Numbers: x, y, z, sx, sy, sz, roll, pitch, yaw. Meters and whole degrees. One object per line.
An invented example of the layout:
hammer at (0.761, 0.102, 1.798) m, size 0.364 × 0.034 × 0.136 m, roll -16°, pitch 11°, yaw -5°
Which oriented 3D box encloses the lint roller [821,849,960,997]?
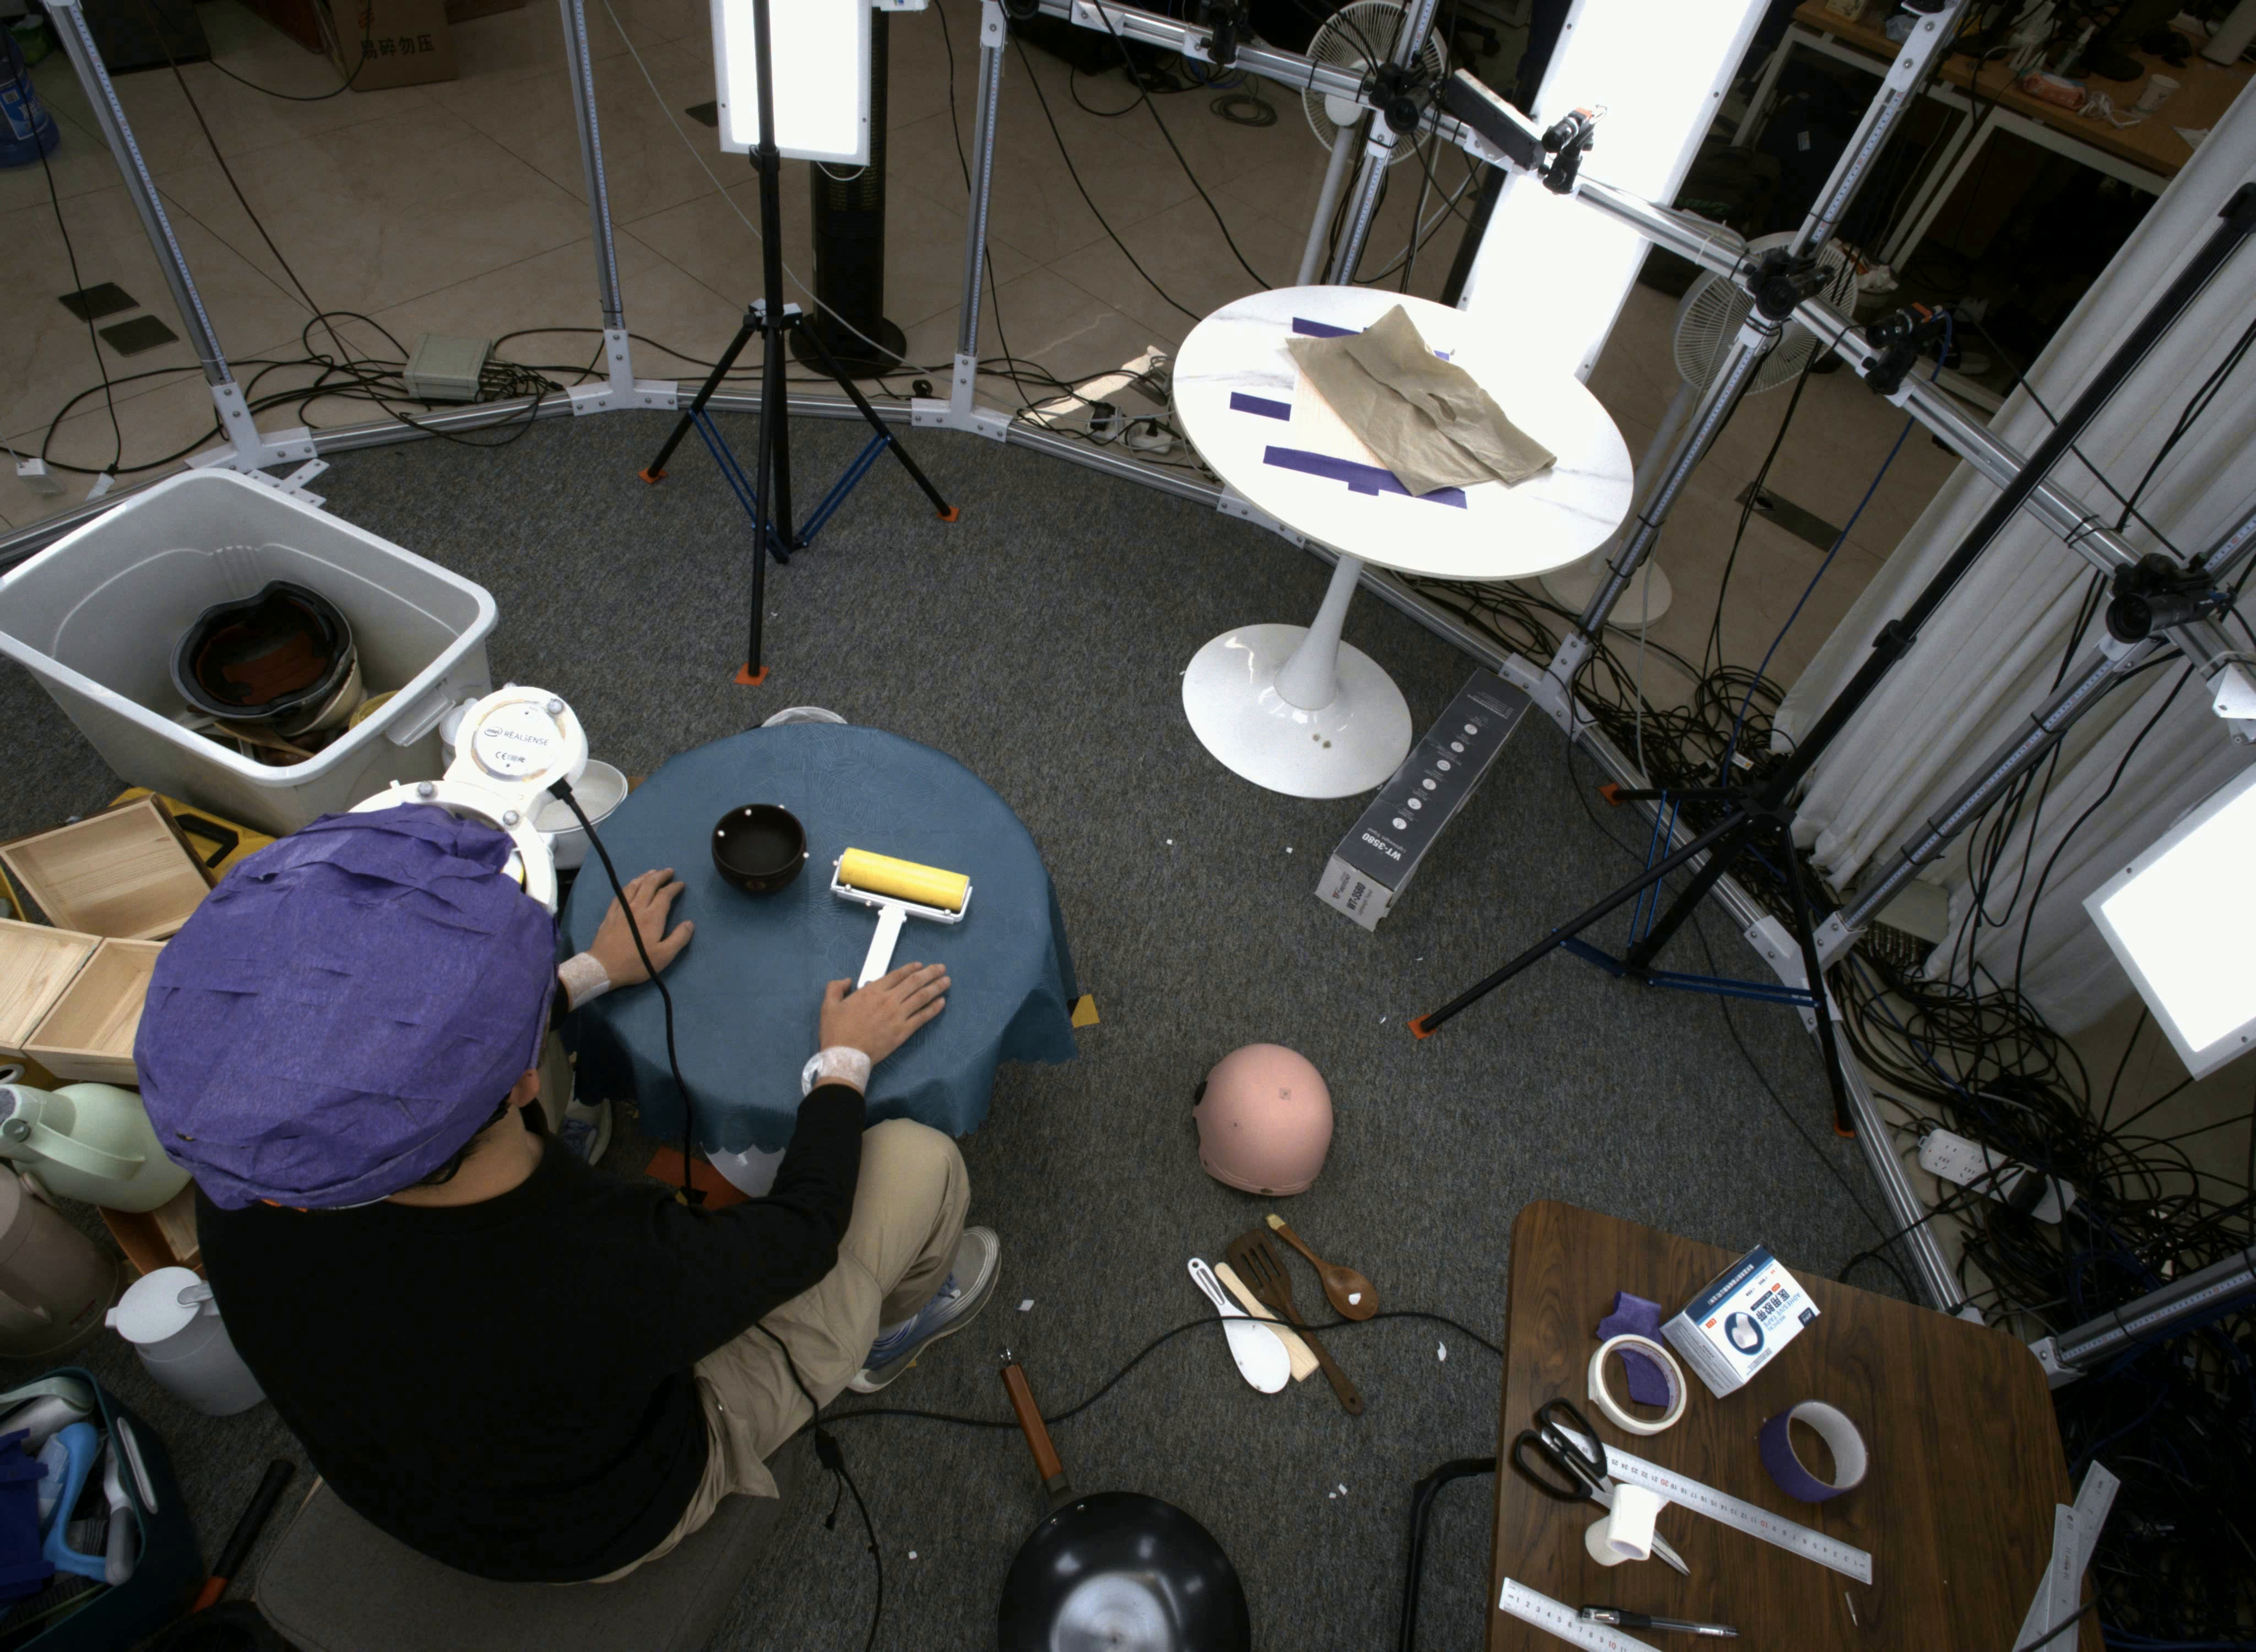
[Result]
lint roller at (-0.310, 0.120, 1.625) m, size 0.173 × 0.052 × 0.189 m, roll 12°, pitch 47°, yaw -5°

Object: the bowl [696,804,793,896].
bowl at (-0.481, 0.037, 1.628) m, size 0.118 × 0.071 × 0.116 m, roll 8°, pitch 51°, yaw -8°
